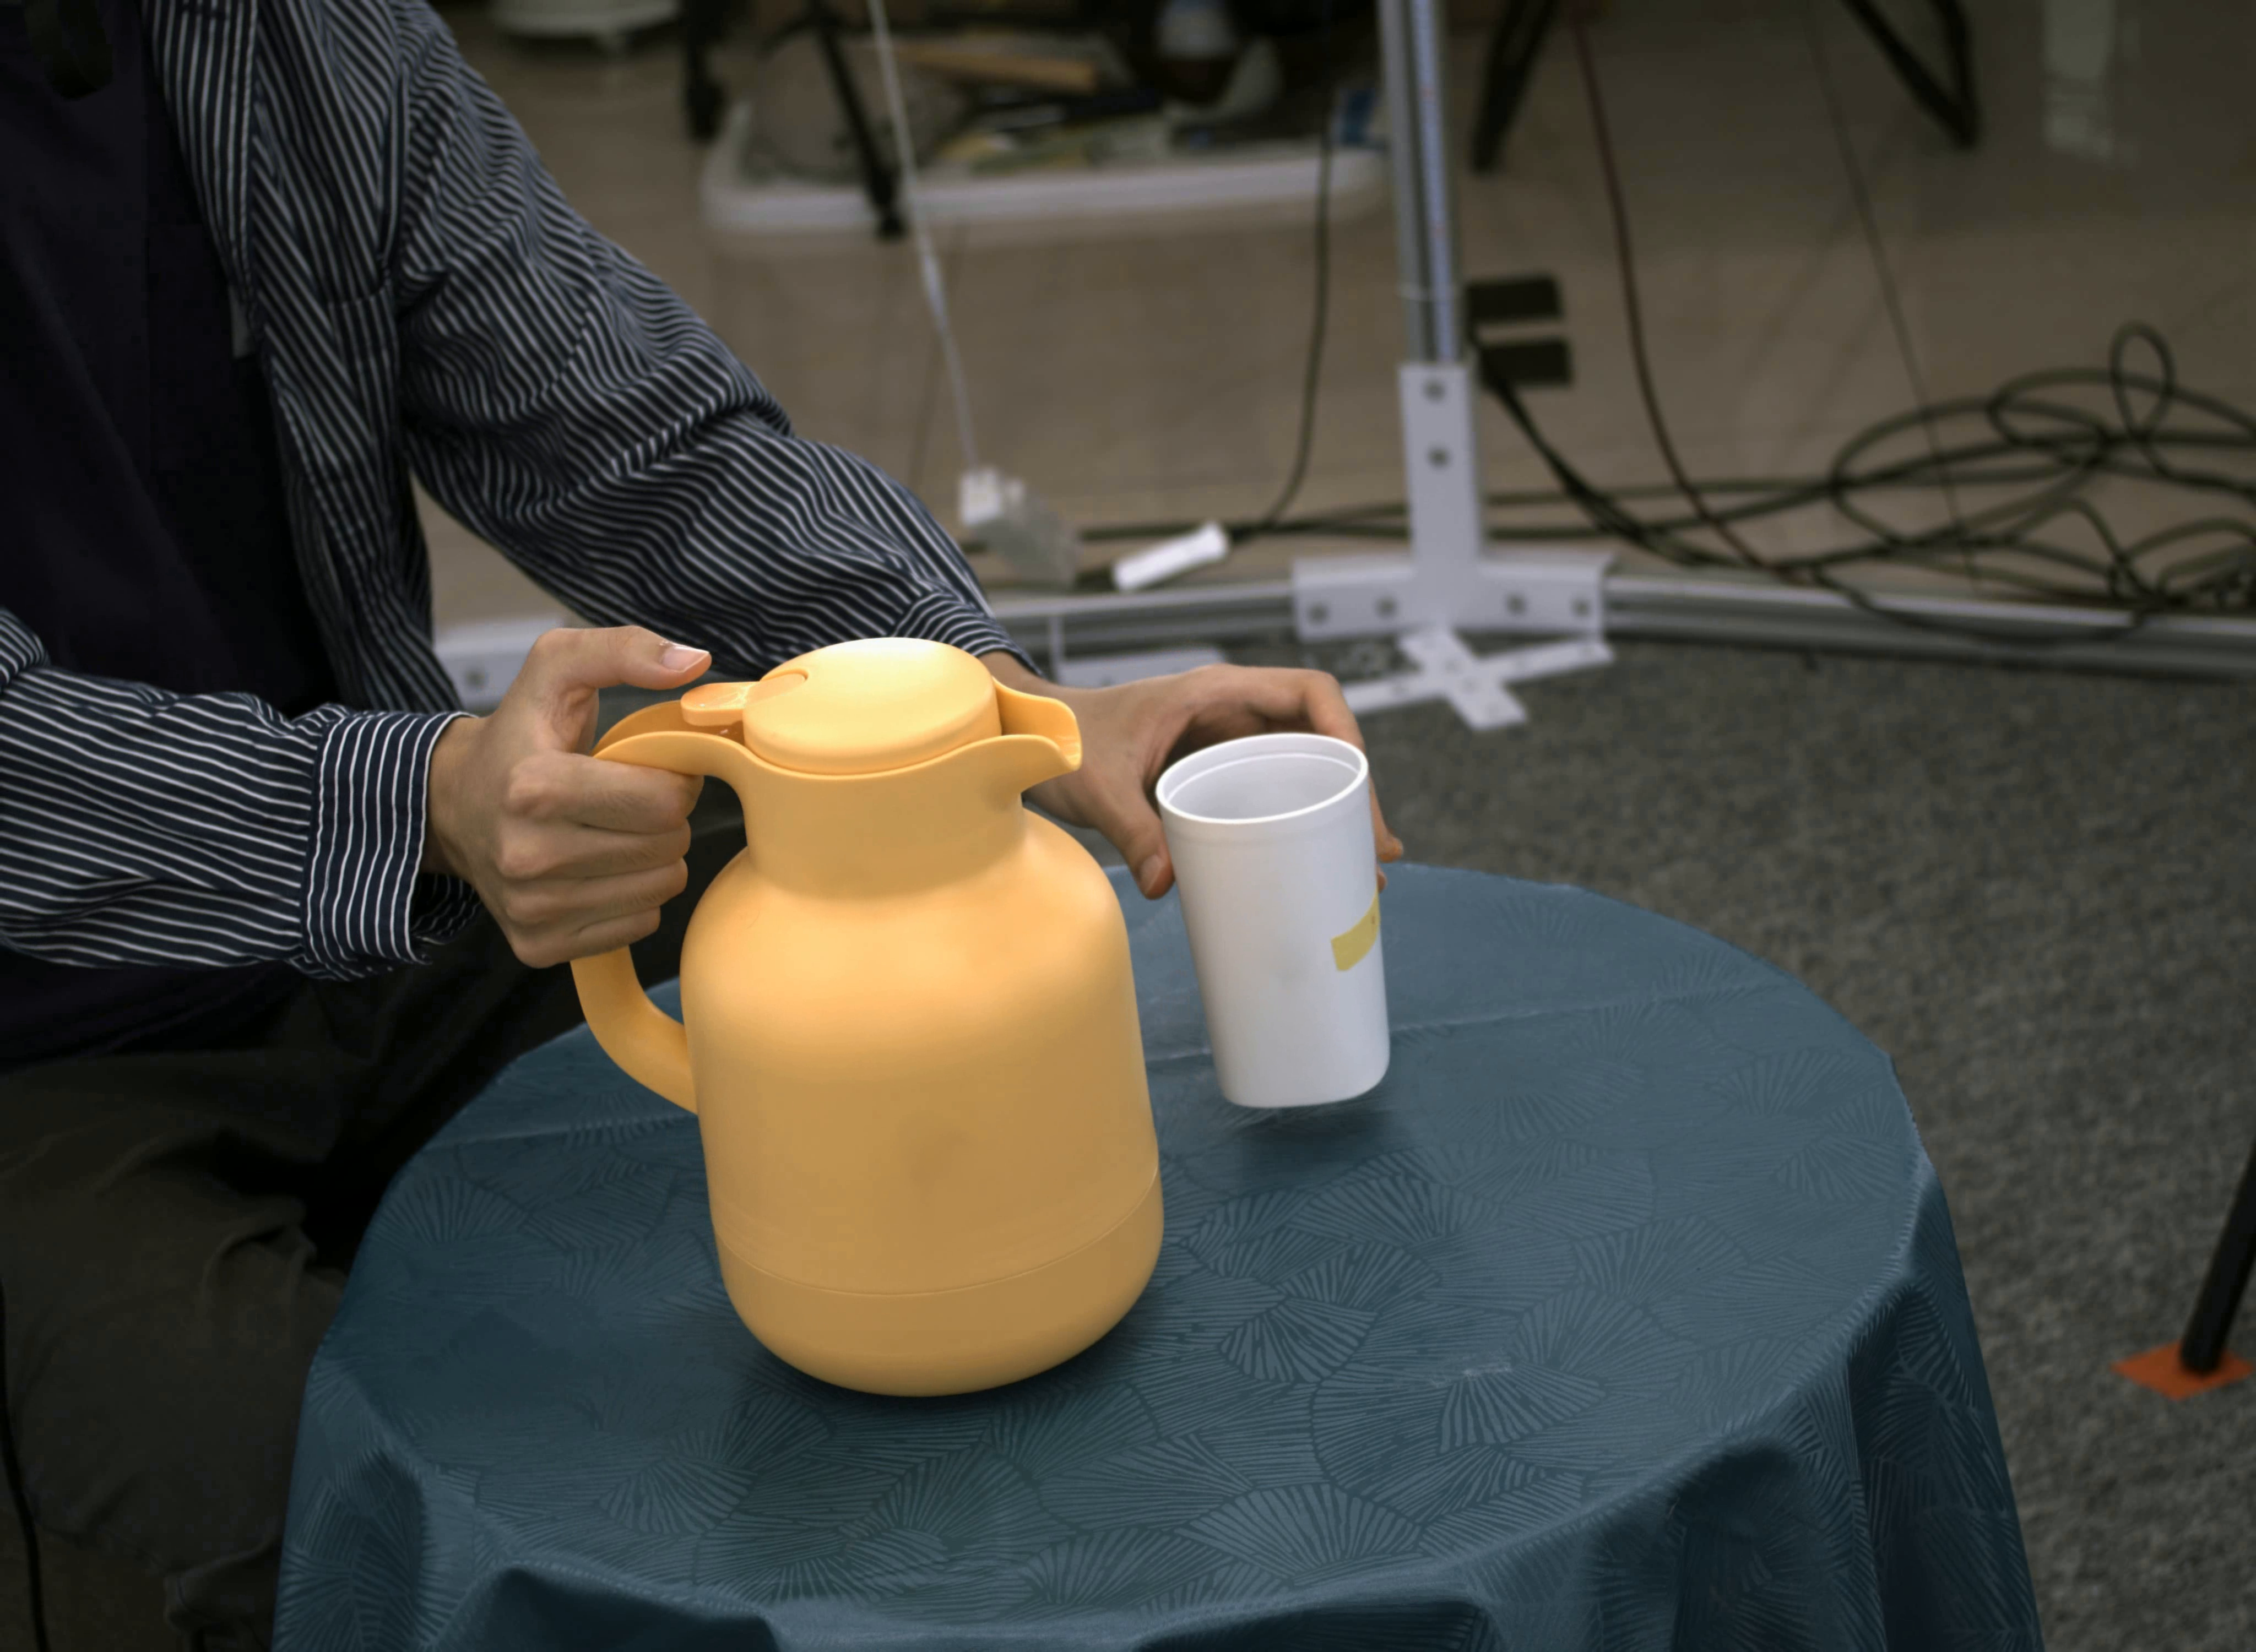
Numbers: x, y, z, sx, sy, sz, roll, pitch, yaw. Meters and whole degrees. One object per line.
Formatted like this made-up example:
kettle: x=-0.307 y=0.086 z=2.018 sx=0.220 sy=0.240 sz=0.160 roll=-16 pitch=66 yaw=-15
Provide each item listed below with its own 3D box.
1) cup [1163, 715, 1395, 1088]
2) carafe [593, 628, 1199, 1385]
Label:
cup: x=0.062 y=0.030 z=2.169 sx=0.081 sy=0.127 sz=0.080 roll=-8 pitch=25 yaw=4
carafe: x=-0.083 y=0.059 z=2.027 sx=0.202 sy=0.265 sz=0.161 roll=0 pitch=28 yaw=12
